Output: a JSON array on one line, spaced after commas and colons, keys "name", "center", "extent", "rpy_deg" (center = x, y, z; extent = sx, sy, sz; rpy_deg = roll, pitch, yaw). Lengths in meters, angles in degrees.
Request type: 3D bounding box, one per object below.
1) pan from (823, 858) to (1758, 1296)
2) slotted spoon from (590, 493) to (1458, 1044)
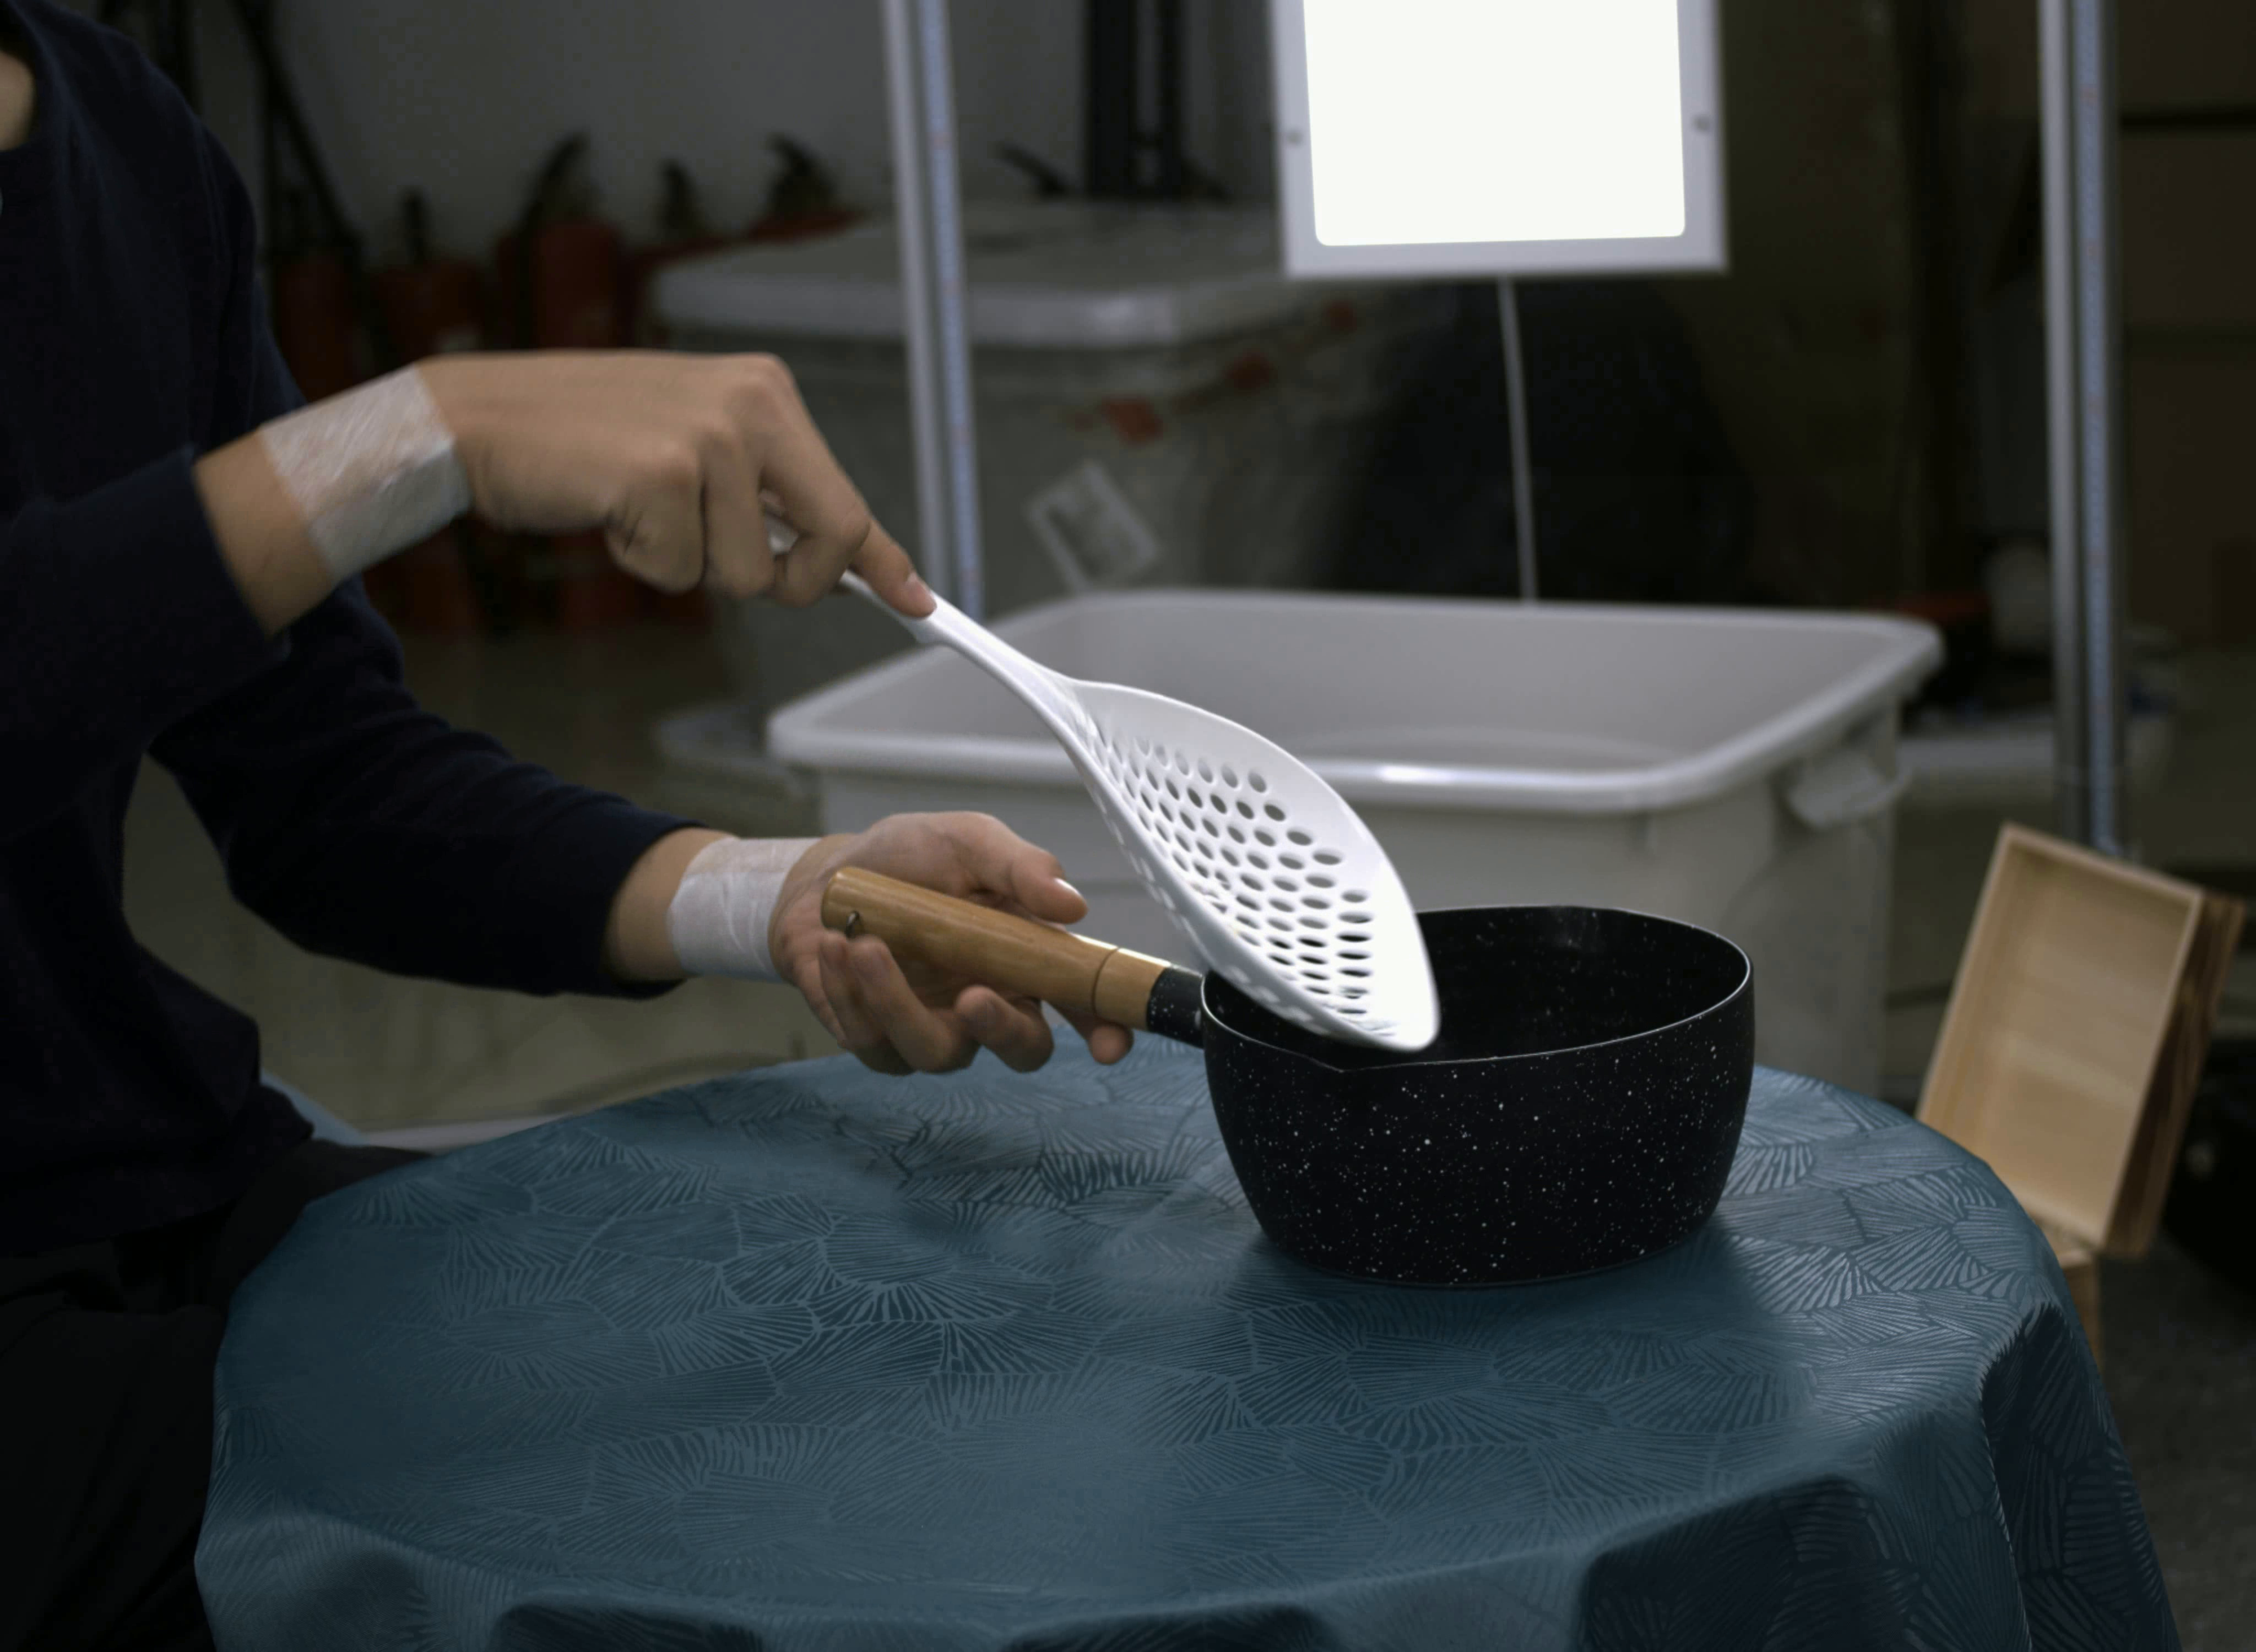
[{"name": "pan", "center": [0.047, 0.075, 1.861], "extent": [0.349, 0.108, 0.203], "rpy_deg": [4, 17, 29]}, {"name": "slotted spoon", "center": [-0.027, -0.029, 1.732], "extent": [0.051, 0.342, 0.137], "rpy_deg": [-39, 35, 22]}]
